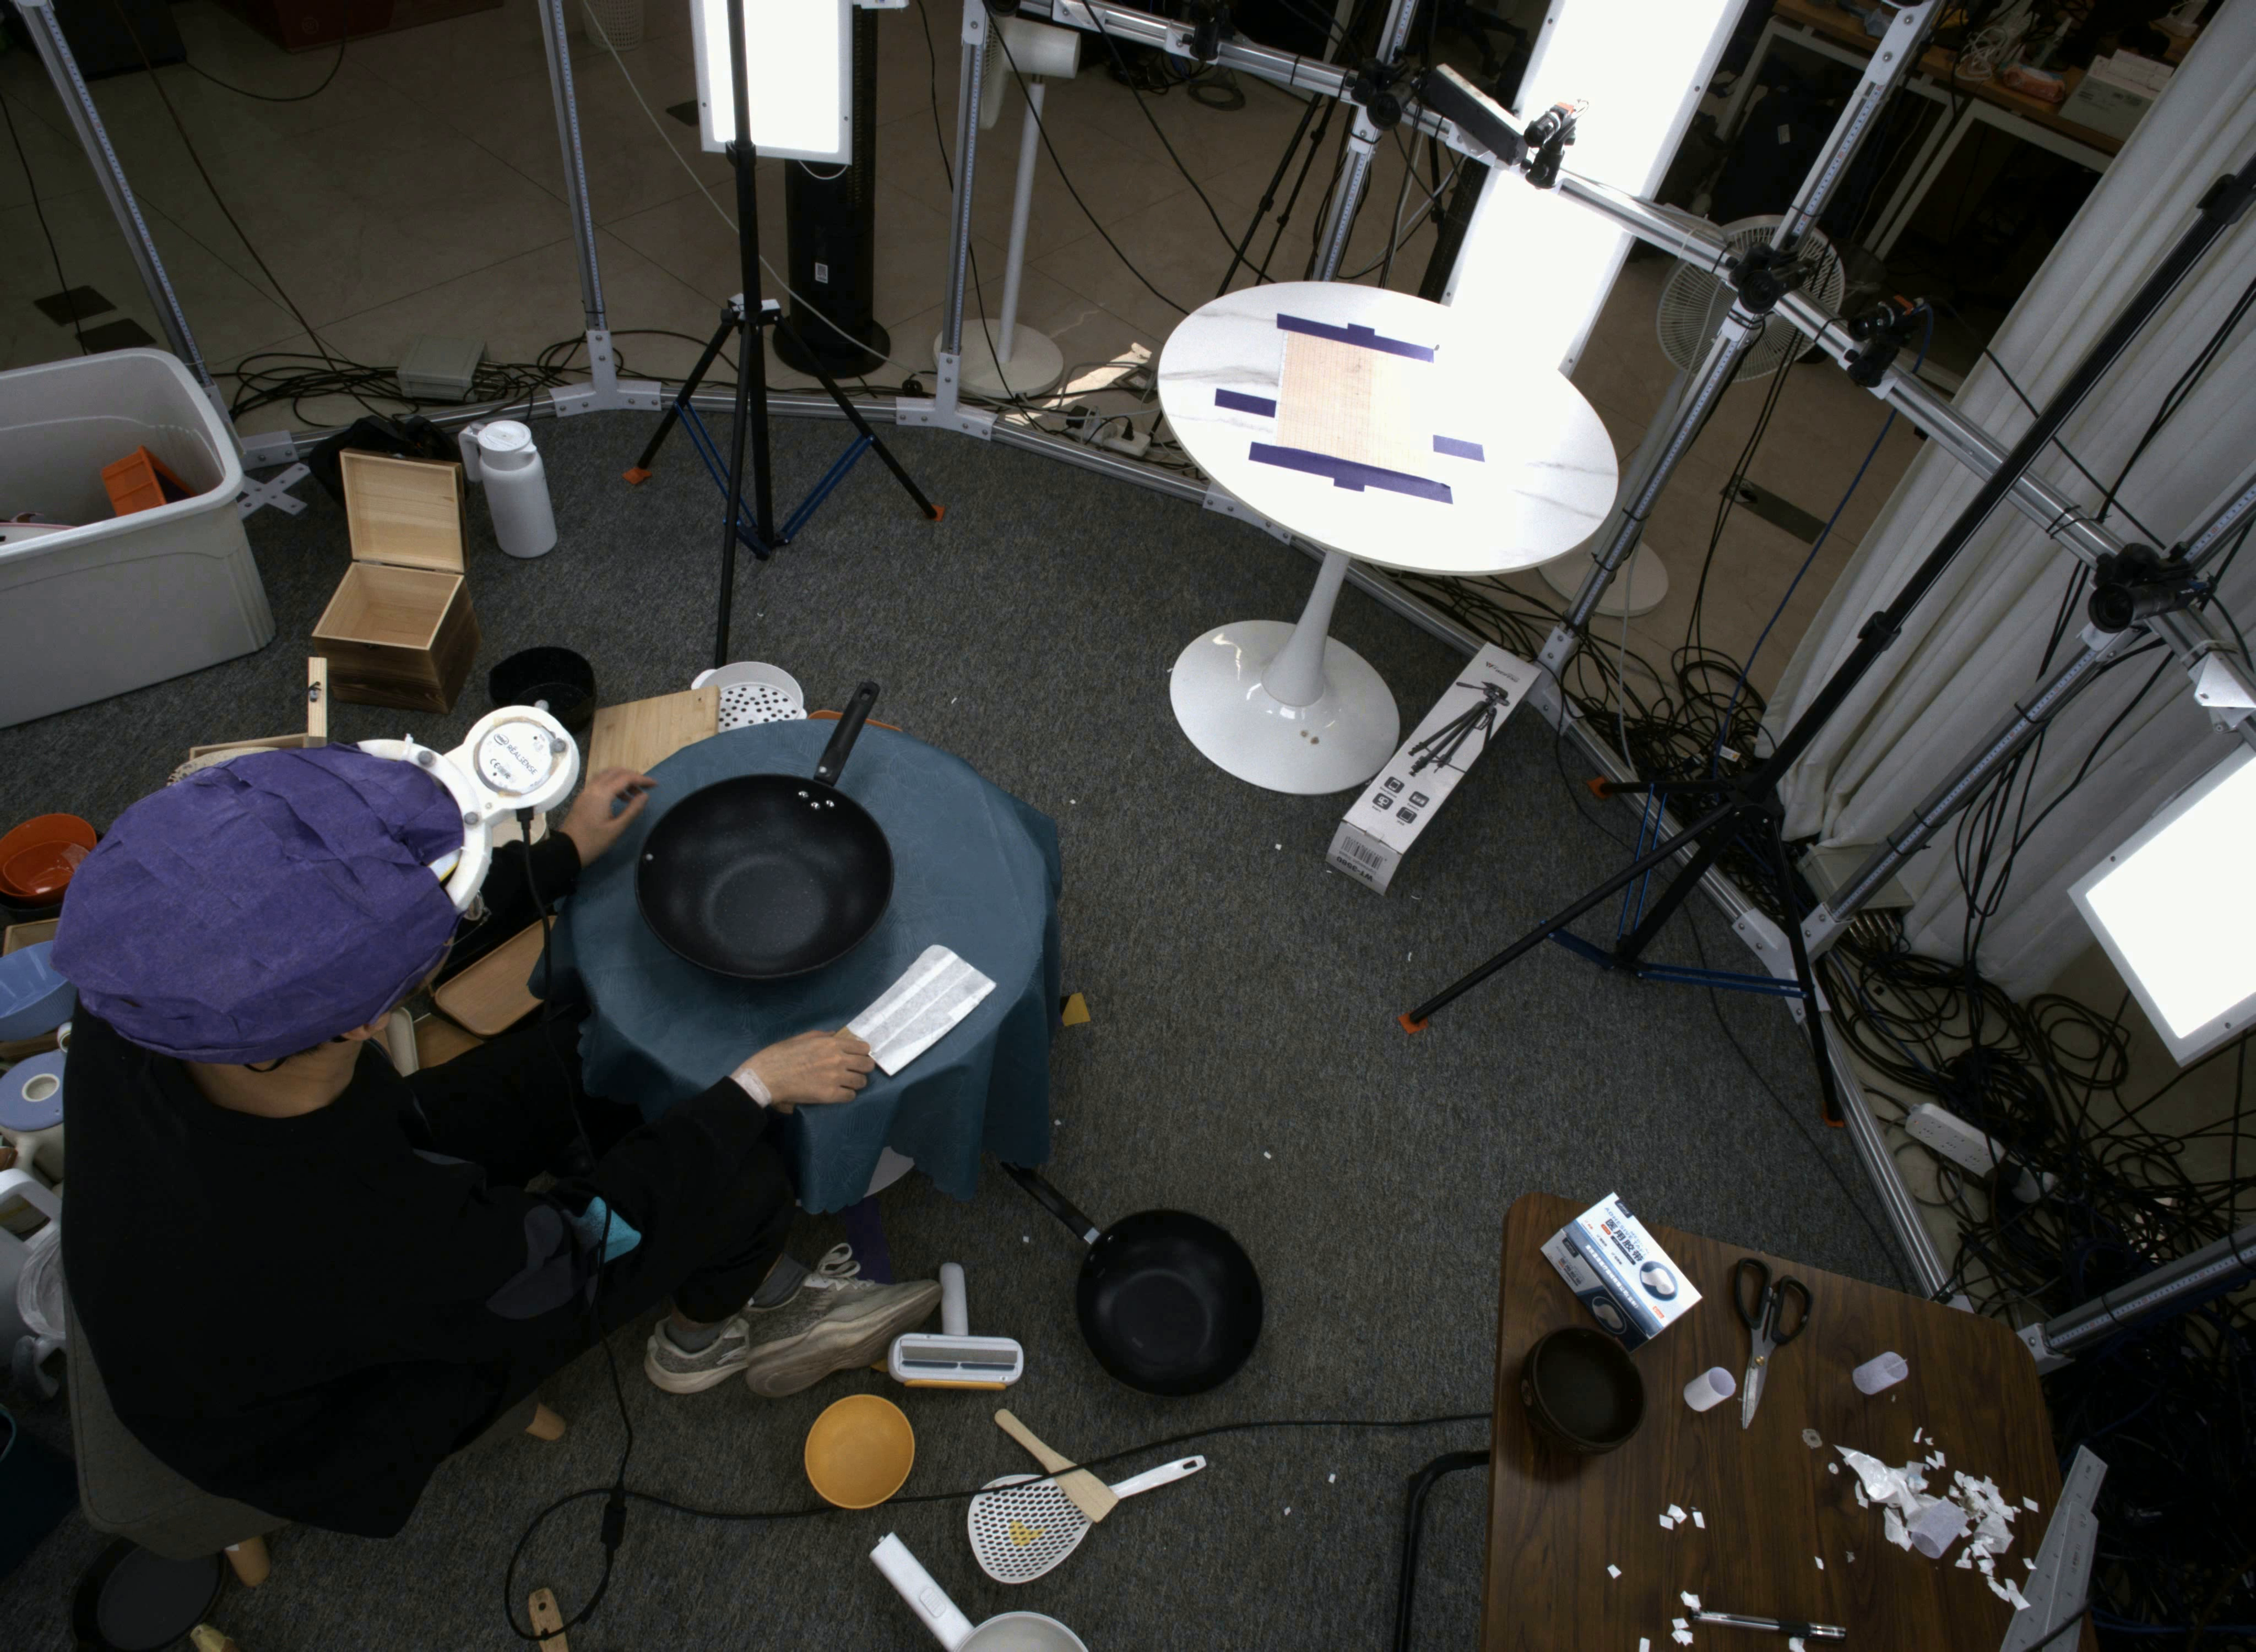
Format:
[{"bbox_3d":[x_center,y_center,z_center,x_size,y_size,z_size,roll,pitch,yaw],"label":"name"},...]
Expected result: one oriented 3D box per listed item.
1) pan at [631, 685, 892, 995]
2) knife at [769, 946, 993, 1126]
[{"bbox_3d":[-0.422,0.017,1.633,0.308,0.113,0.472,21,51,-1],"label":"pan"},{"bbox_3d":[-0.297,0.246,1.552,0.111,0.022,0.316,41,52,16],"label":"knife"}]
